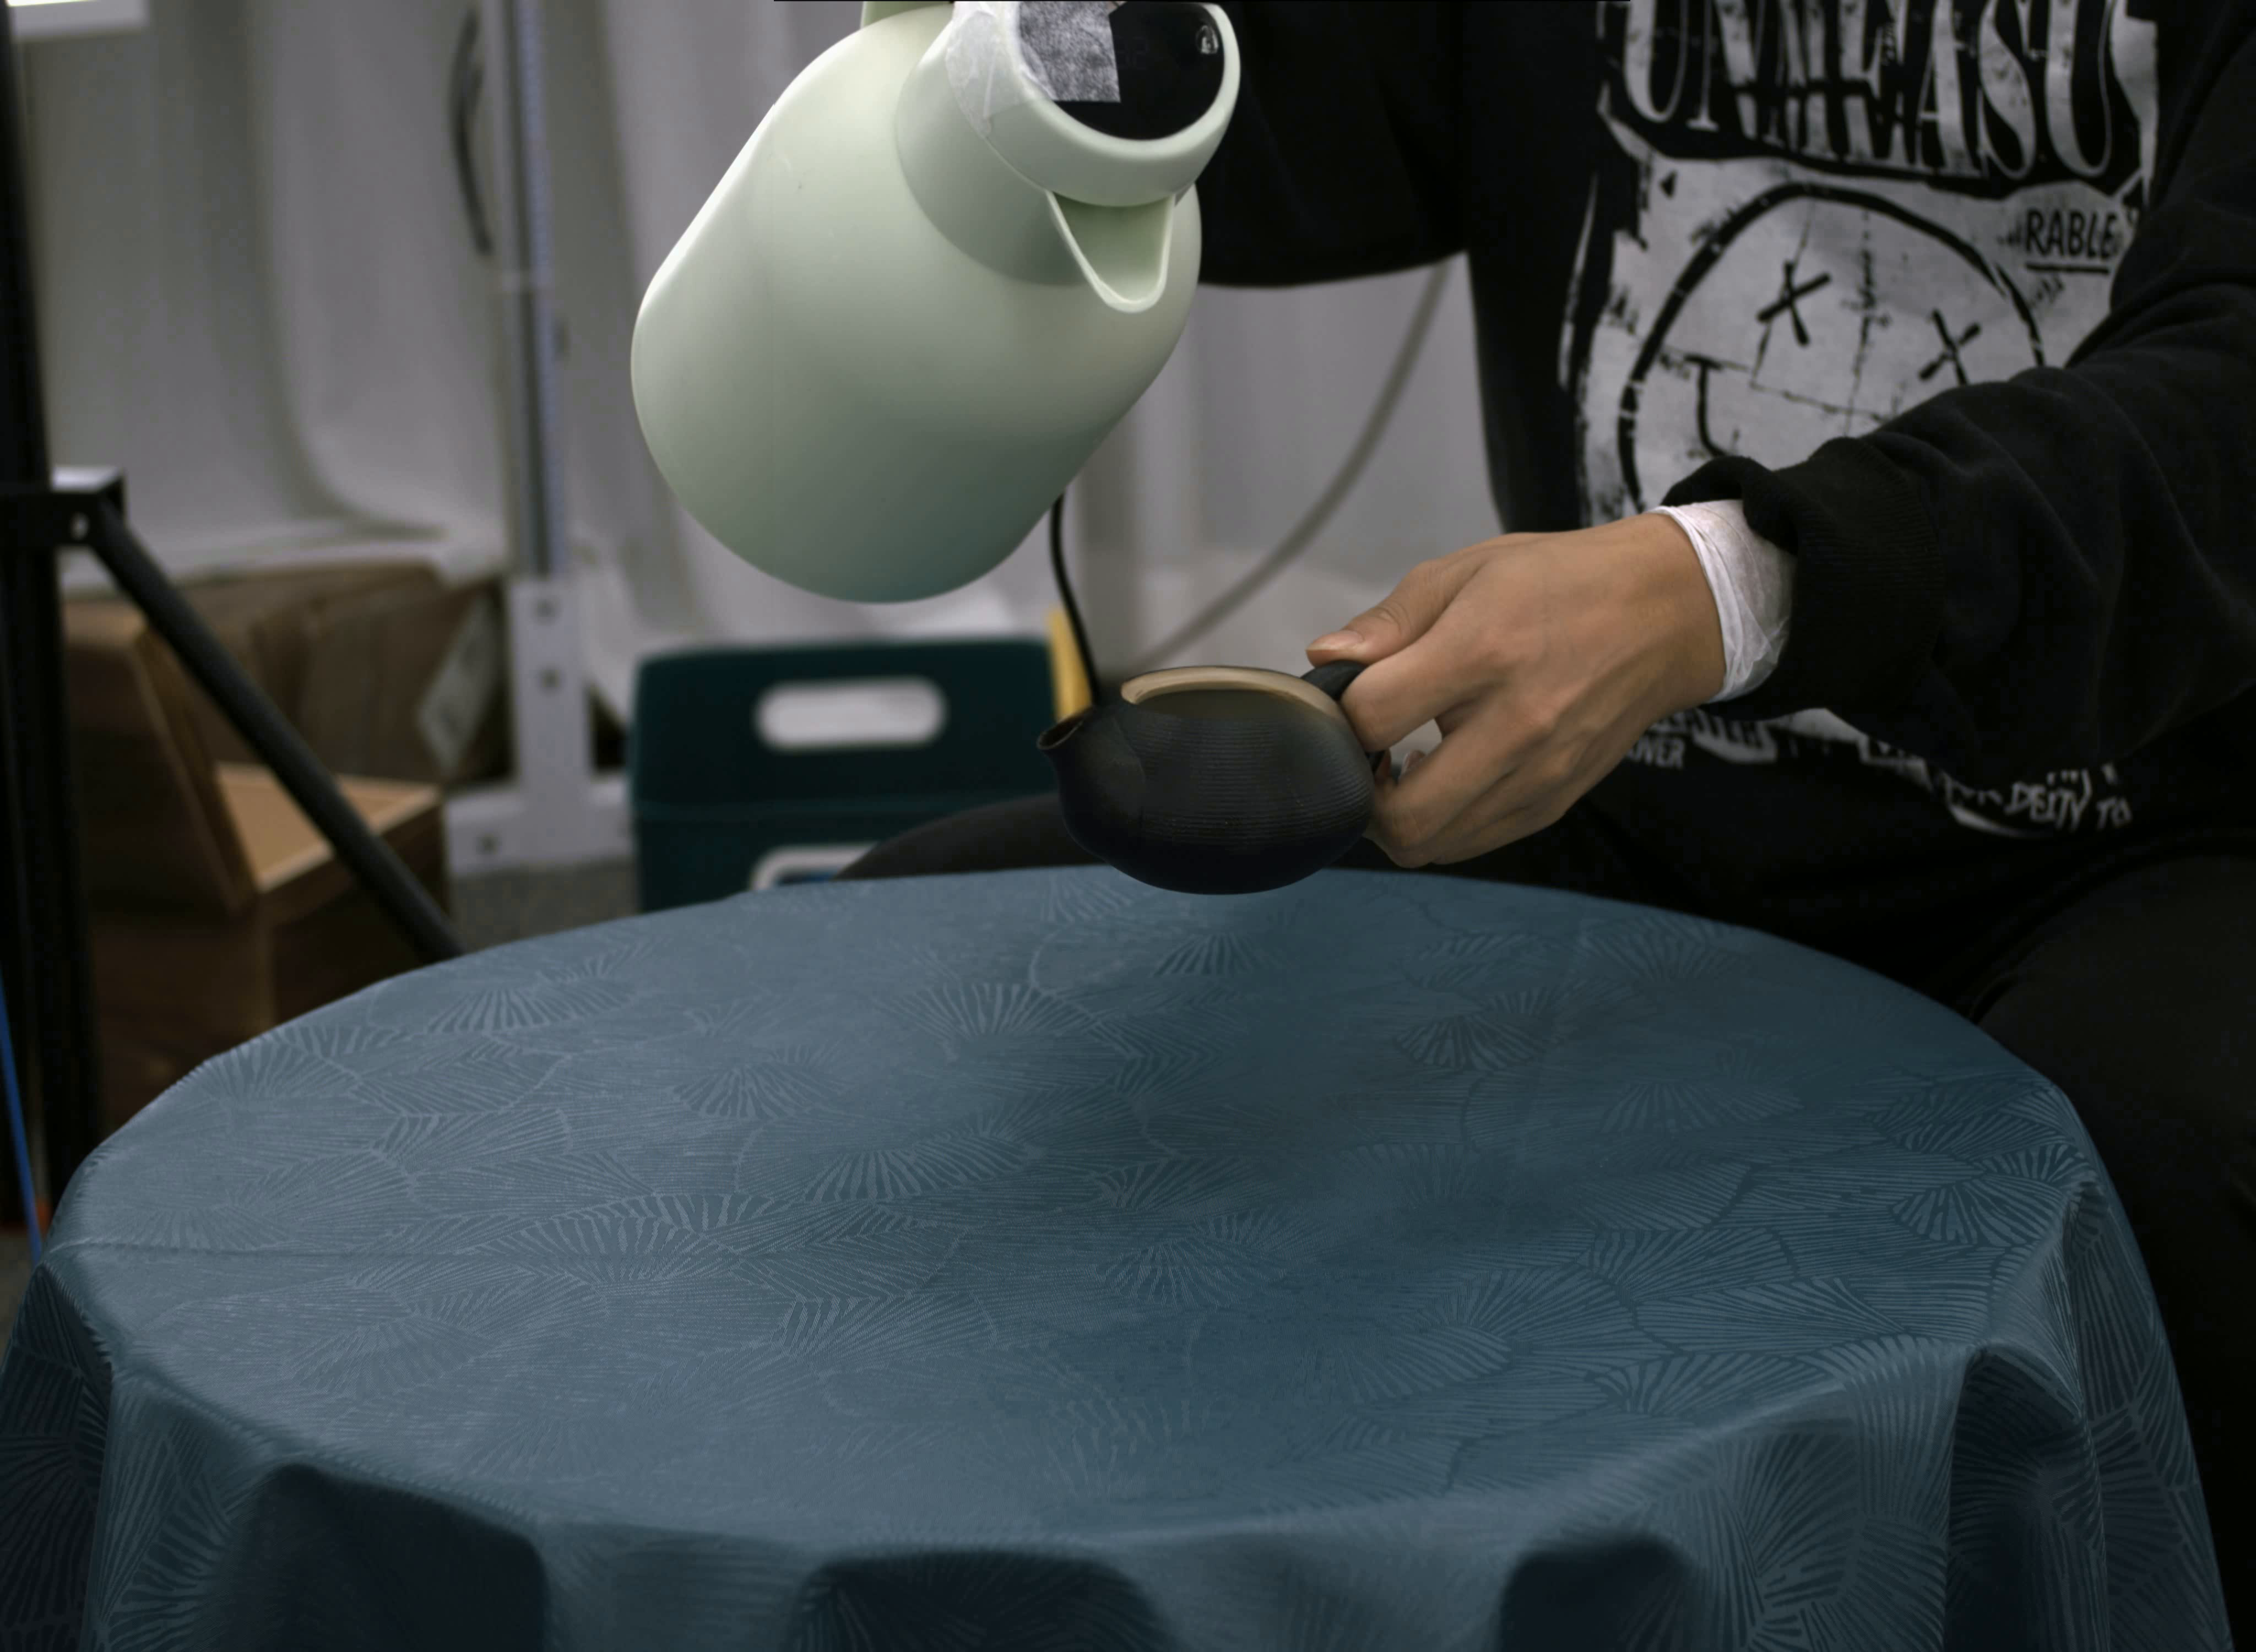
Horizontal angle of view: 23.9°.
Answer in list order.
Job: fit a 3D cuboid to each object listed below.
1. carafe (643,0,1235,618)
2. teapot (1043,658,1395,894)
[{"bbox_3d":[-0.050,-0.189,1.613,0.141,0.189,0.258,-2,-25,-22],"label":"carafe"},{"bbox_3d":[0.027,-0.014,1.516,0.130,0.053,0.093,-15,24,-38],"label":"teapot"}]
